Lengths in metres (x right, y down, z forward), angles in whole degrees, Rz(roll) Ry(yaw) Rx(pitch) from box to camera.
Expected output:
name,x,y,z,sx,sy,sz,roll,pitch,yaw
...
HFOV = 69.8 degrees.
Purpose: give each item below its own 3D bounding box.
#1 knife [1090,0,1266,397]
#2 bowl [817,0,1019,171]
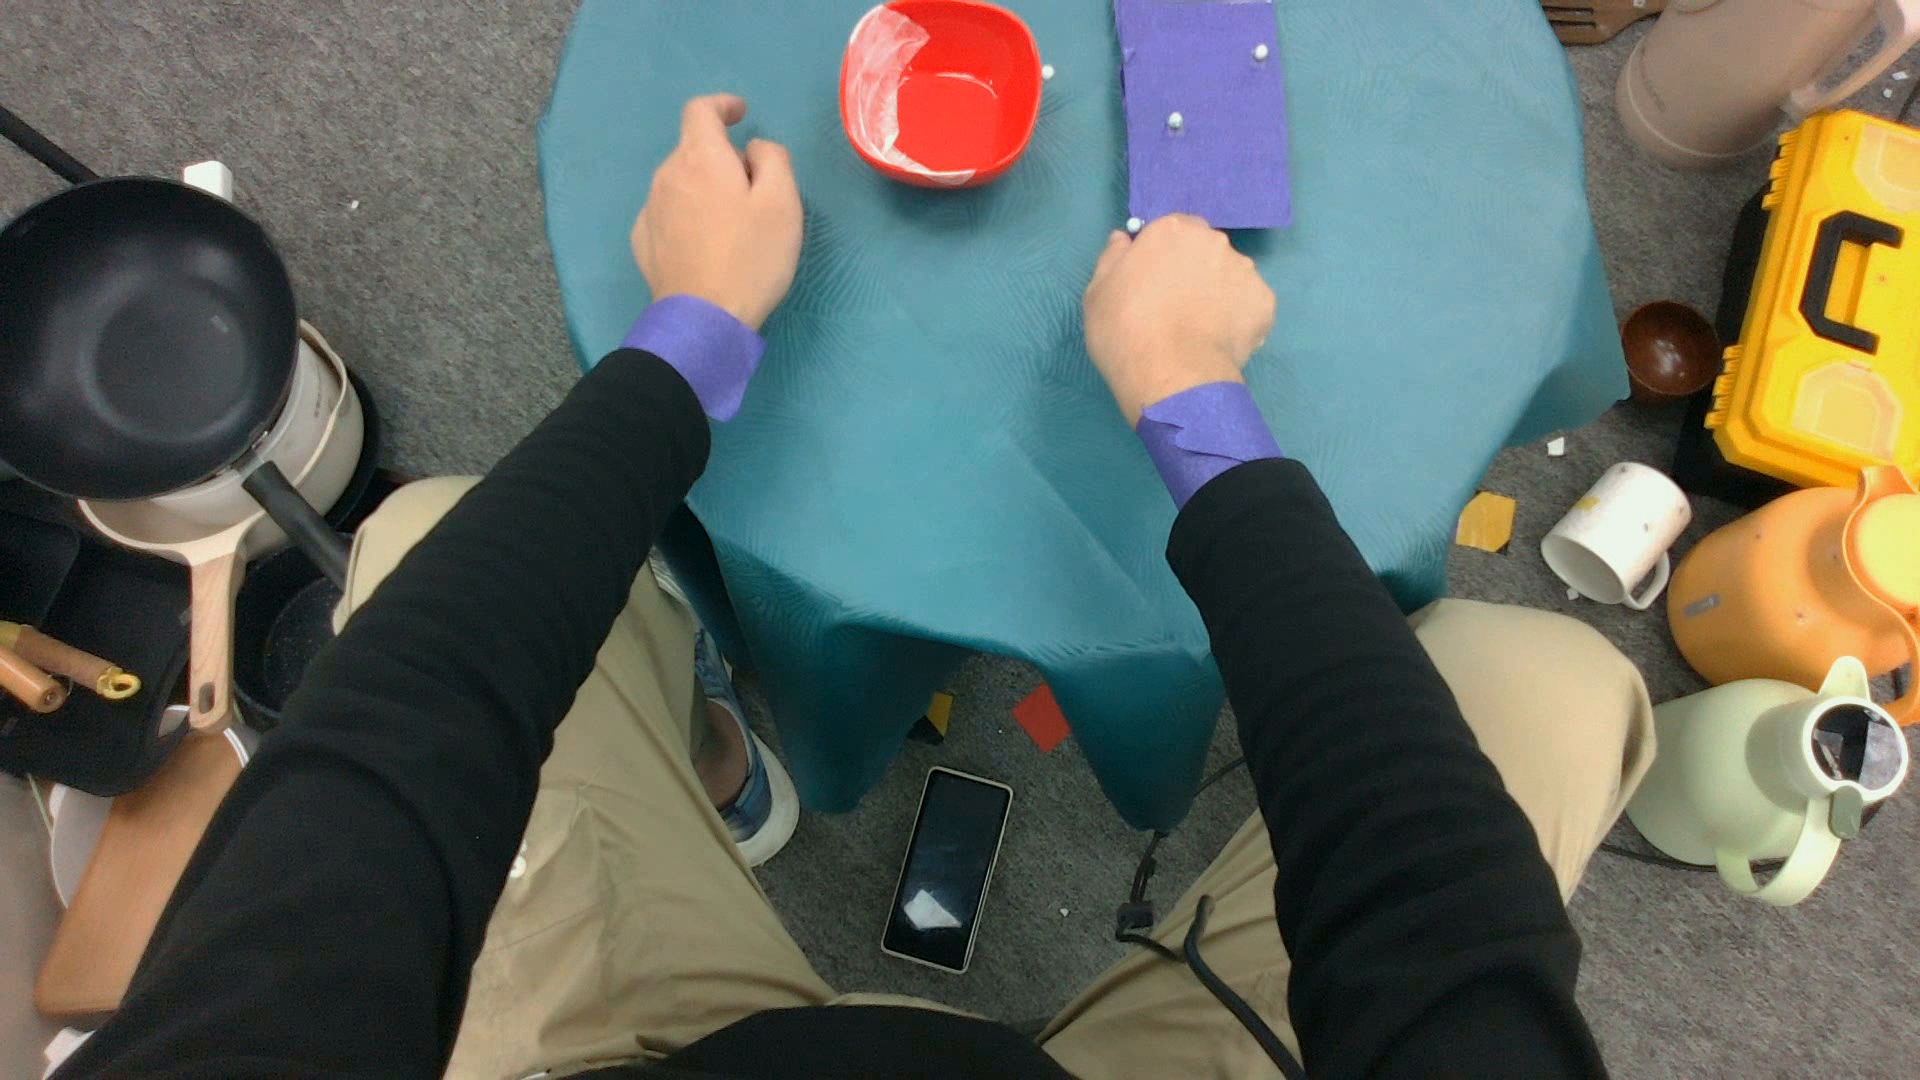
name,x,y,z,sx,sy,sz,roll,pitch,yaw
knife,0.123,-0.229,0.775,0.104,0.032,0.316,-2,71,0
bowl,-0.023,-0.250,0.774,0.119,0.051,0.119,0,73,0
